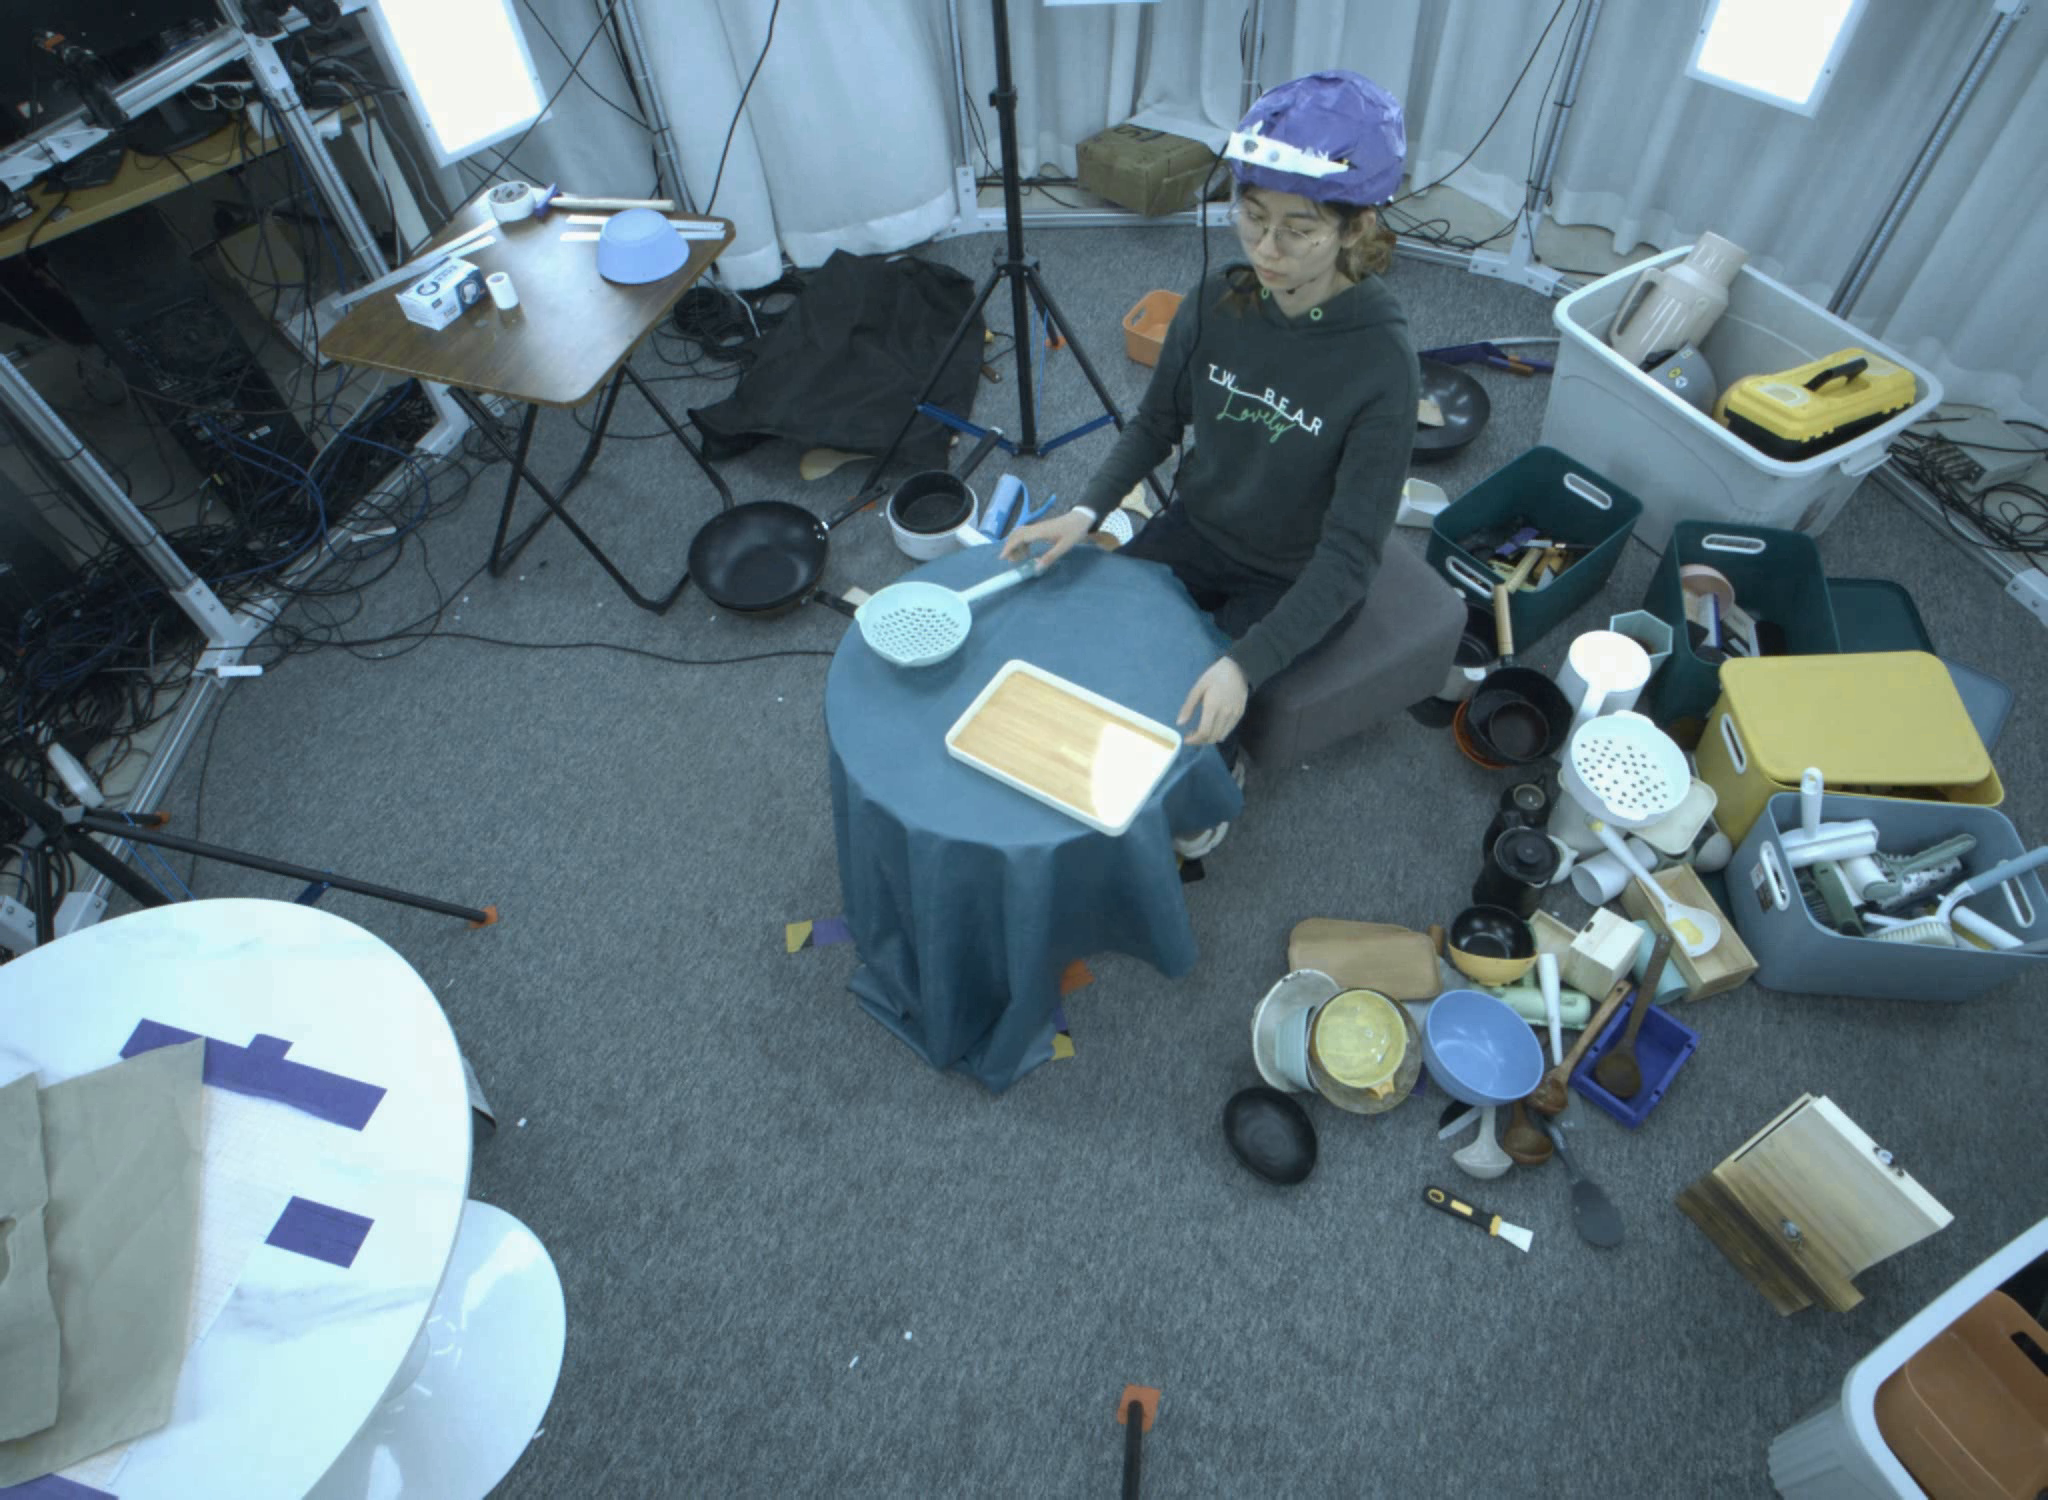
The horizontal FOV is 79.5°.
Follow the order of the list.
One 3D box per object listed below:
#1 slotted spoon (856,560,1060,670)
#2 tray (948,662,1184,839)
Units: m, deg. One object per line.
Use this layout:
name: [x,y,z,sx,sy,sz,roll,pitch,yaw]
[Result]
slotted spoon: [-0.088,-0.230,1.922,0.361,0.076,0.166,-34,61,-20]
tray: [0.060,-0.004,1.783,0.296,0.028,0.192,27,60,19]
